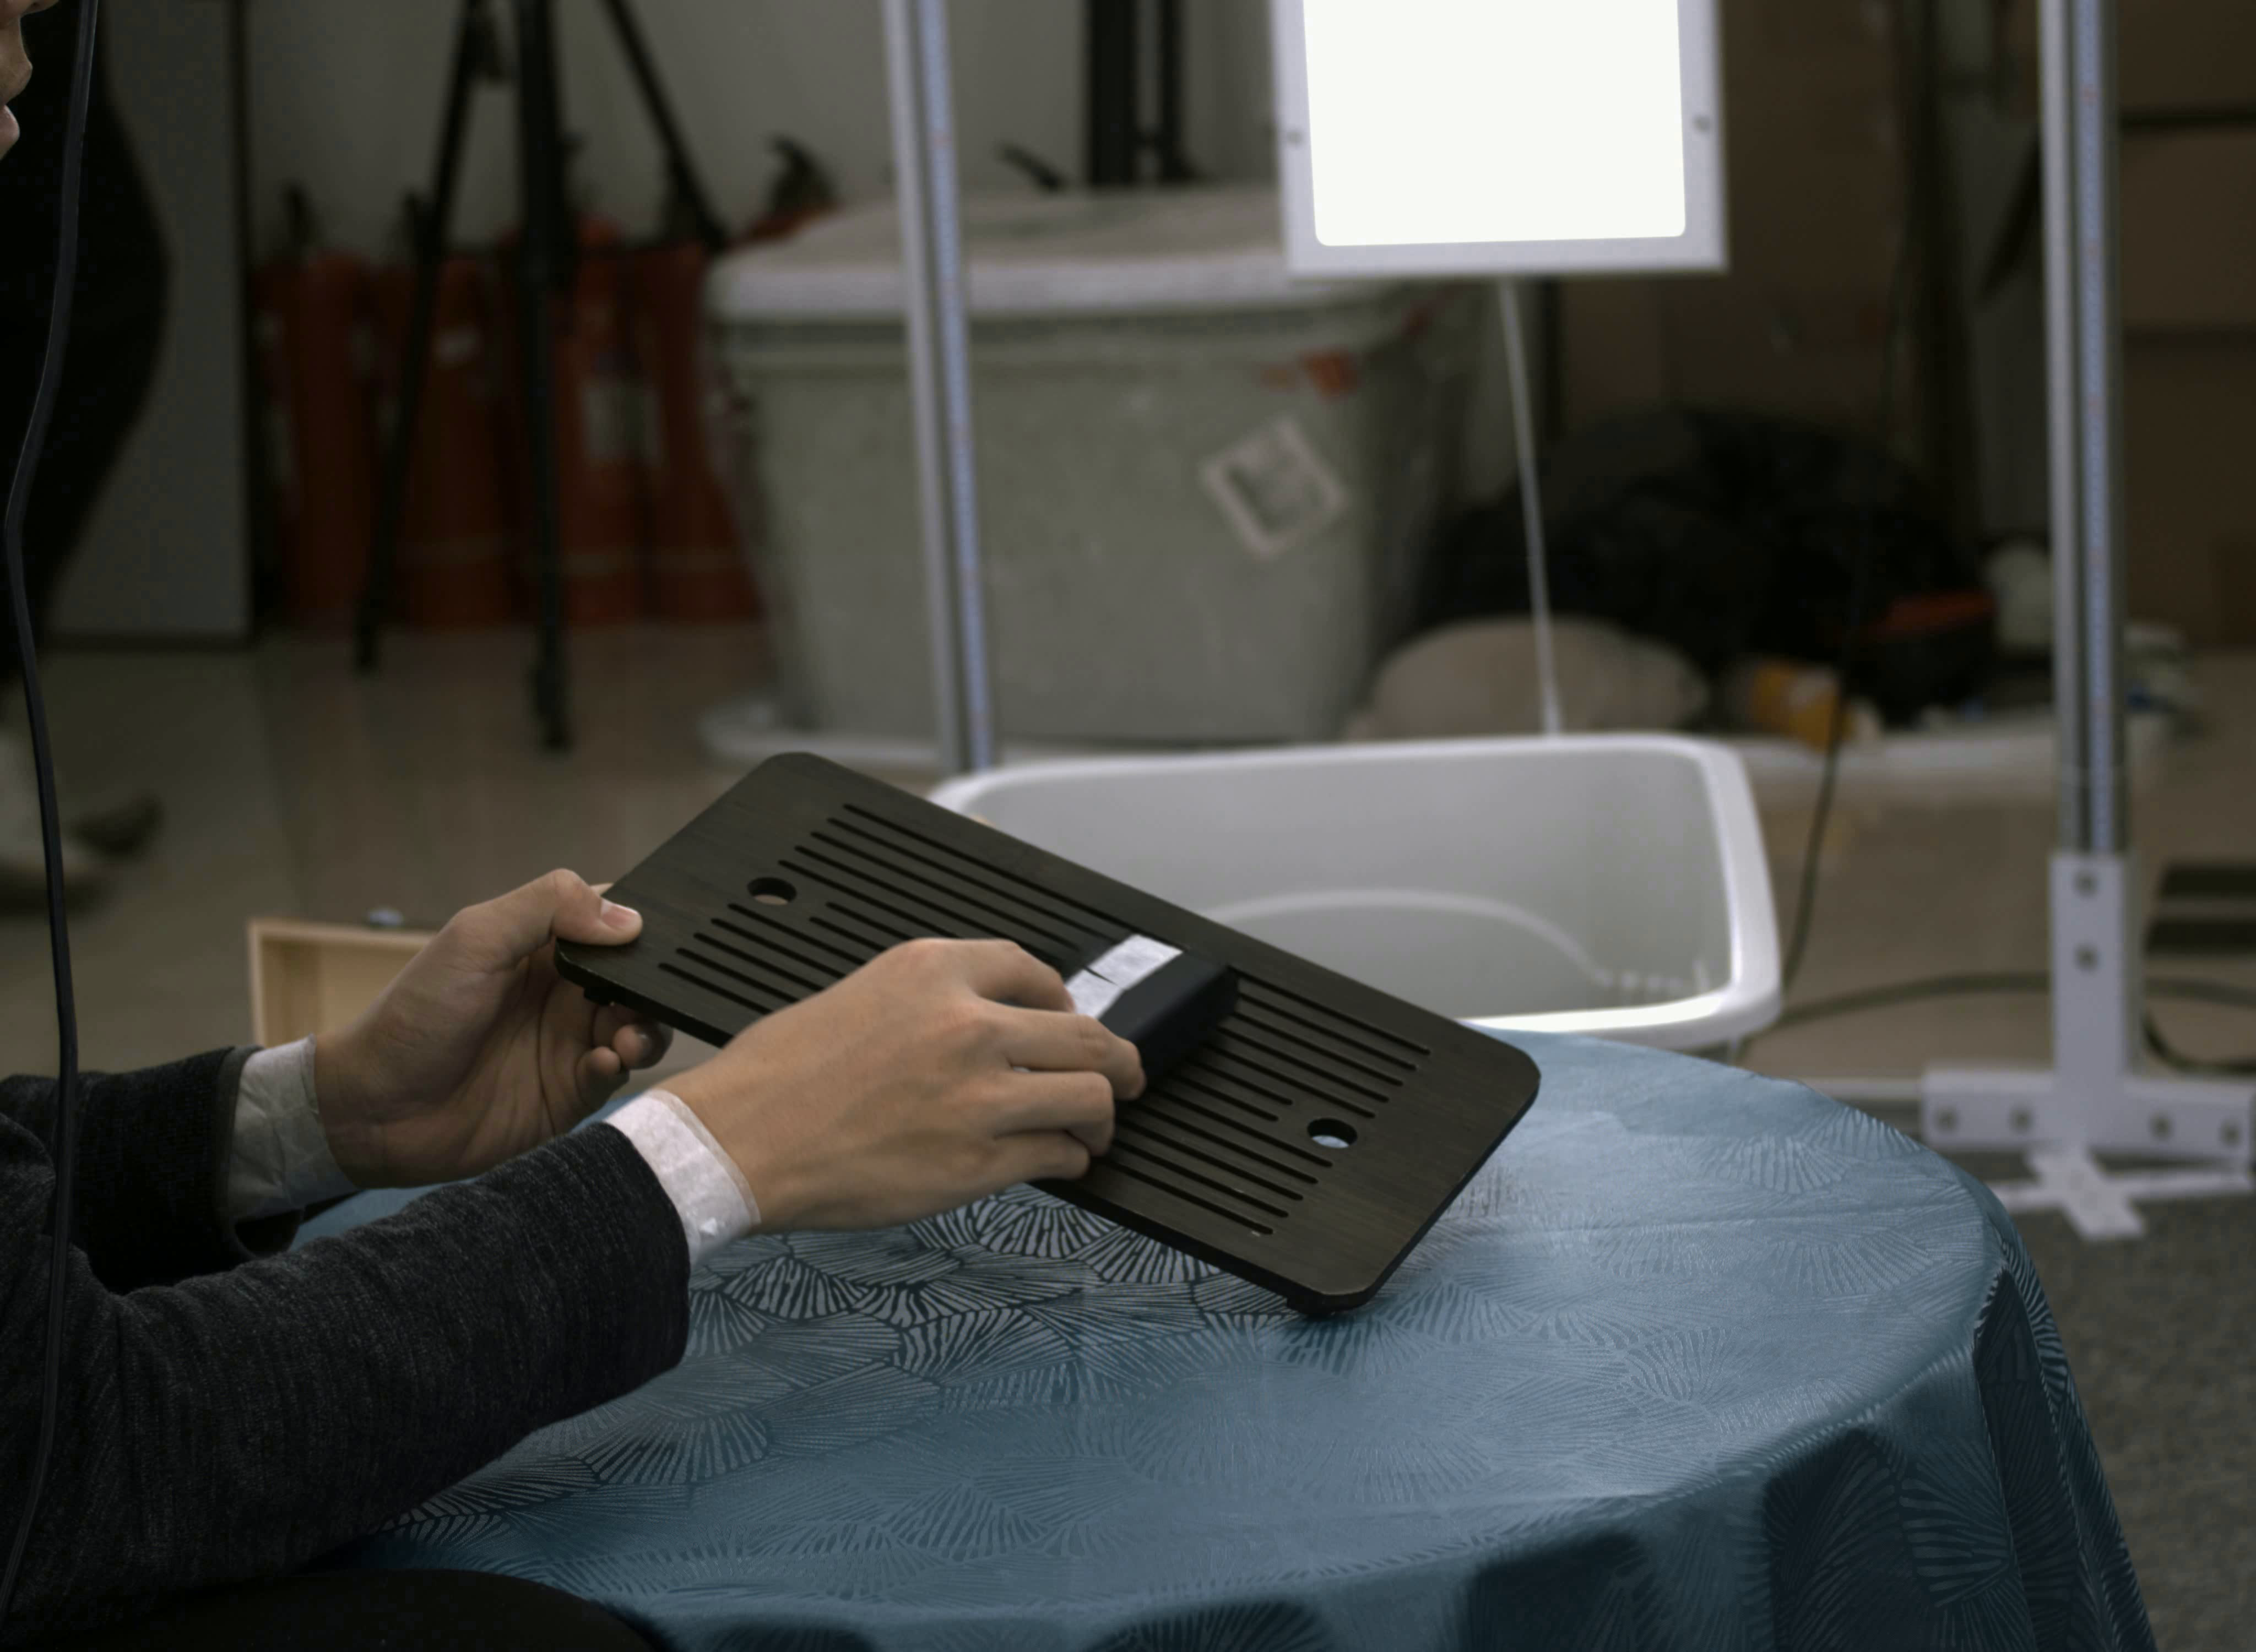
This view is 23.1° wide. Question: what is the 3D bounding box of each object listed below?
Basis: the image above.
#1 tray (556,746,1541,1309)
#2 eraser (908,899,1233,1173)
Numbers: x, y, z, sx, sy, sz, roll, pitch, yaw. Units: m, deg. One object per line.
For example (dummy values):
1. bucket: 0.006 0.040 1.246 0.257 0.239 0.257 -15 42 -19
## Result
1. tray: -0.026 0.065 1.858 0.309 0.019 0.166 22 34 19
2. eraser: -0.019 0.067 1.817 0.054 0.031 0.123 23 37 23
